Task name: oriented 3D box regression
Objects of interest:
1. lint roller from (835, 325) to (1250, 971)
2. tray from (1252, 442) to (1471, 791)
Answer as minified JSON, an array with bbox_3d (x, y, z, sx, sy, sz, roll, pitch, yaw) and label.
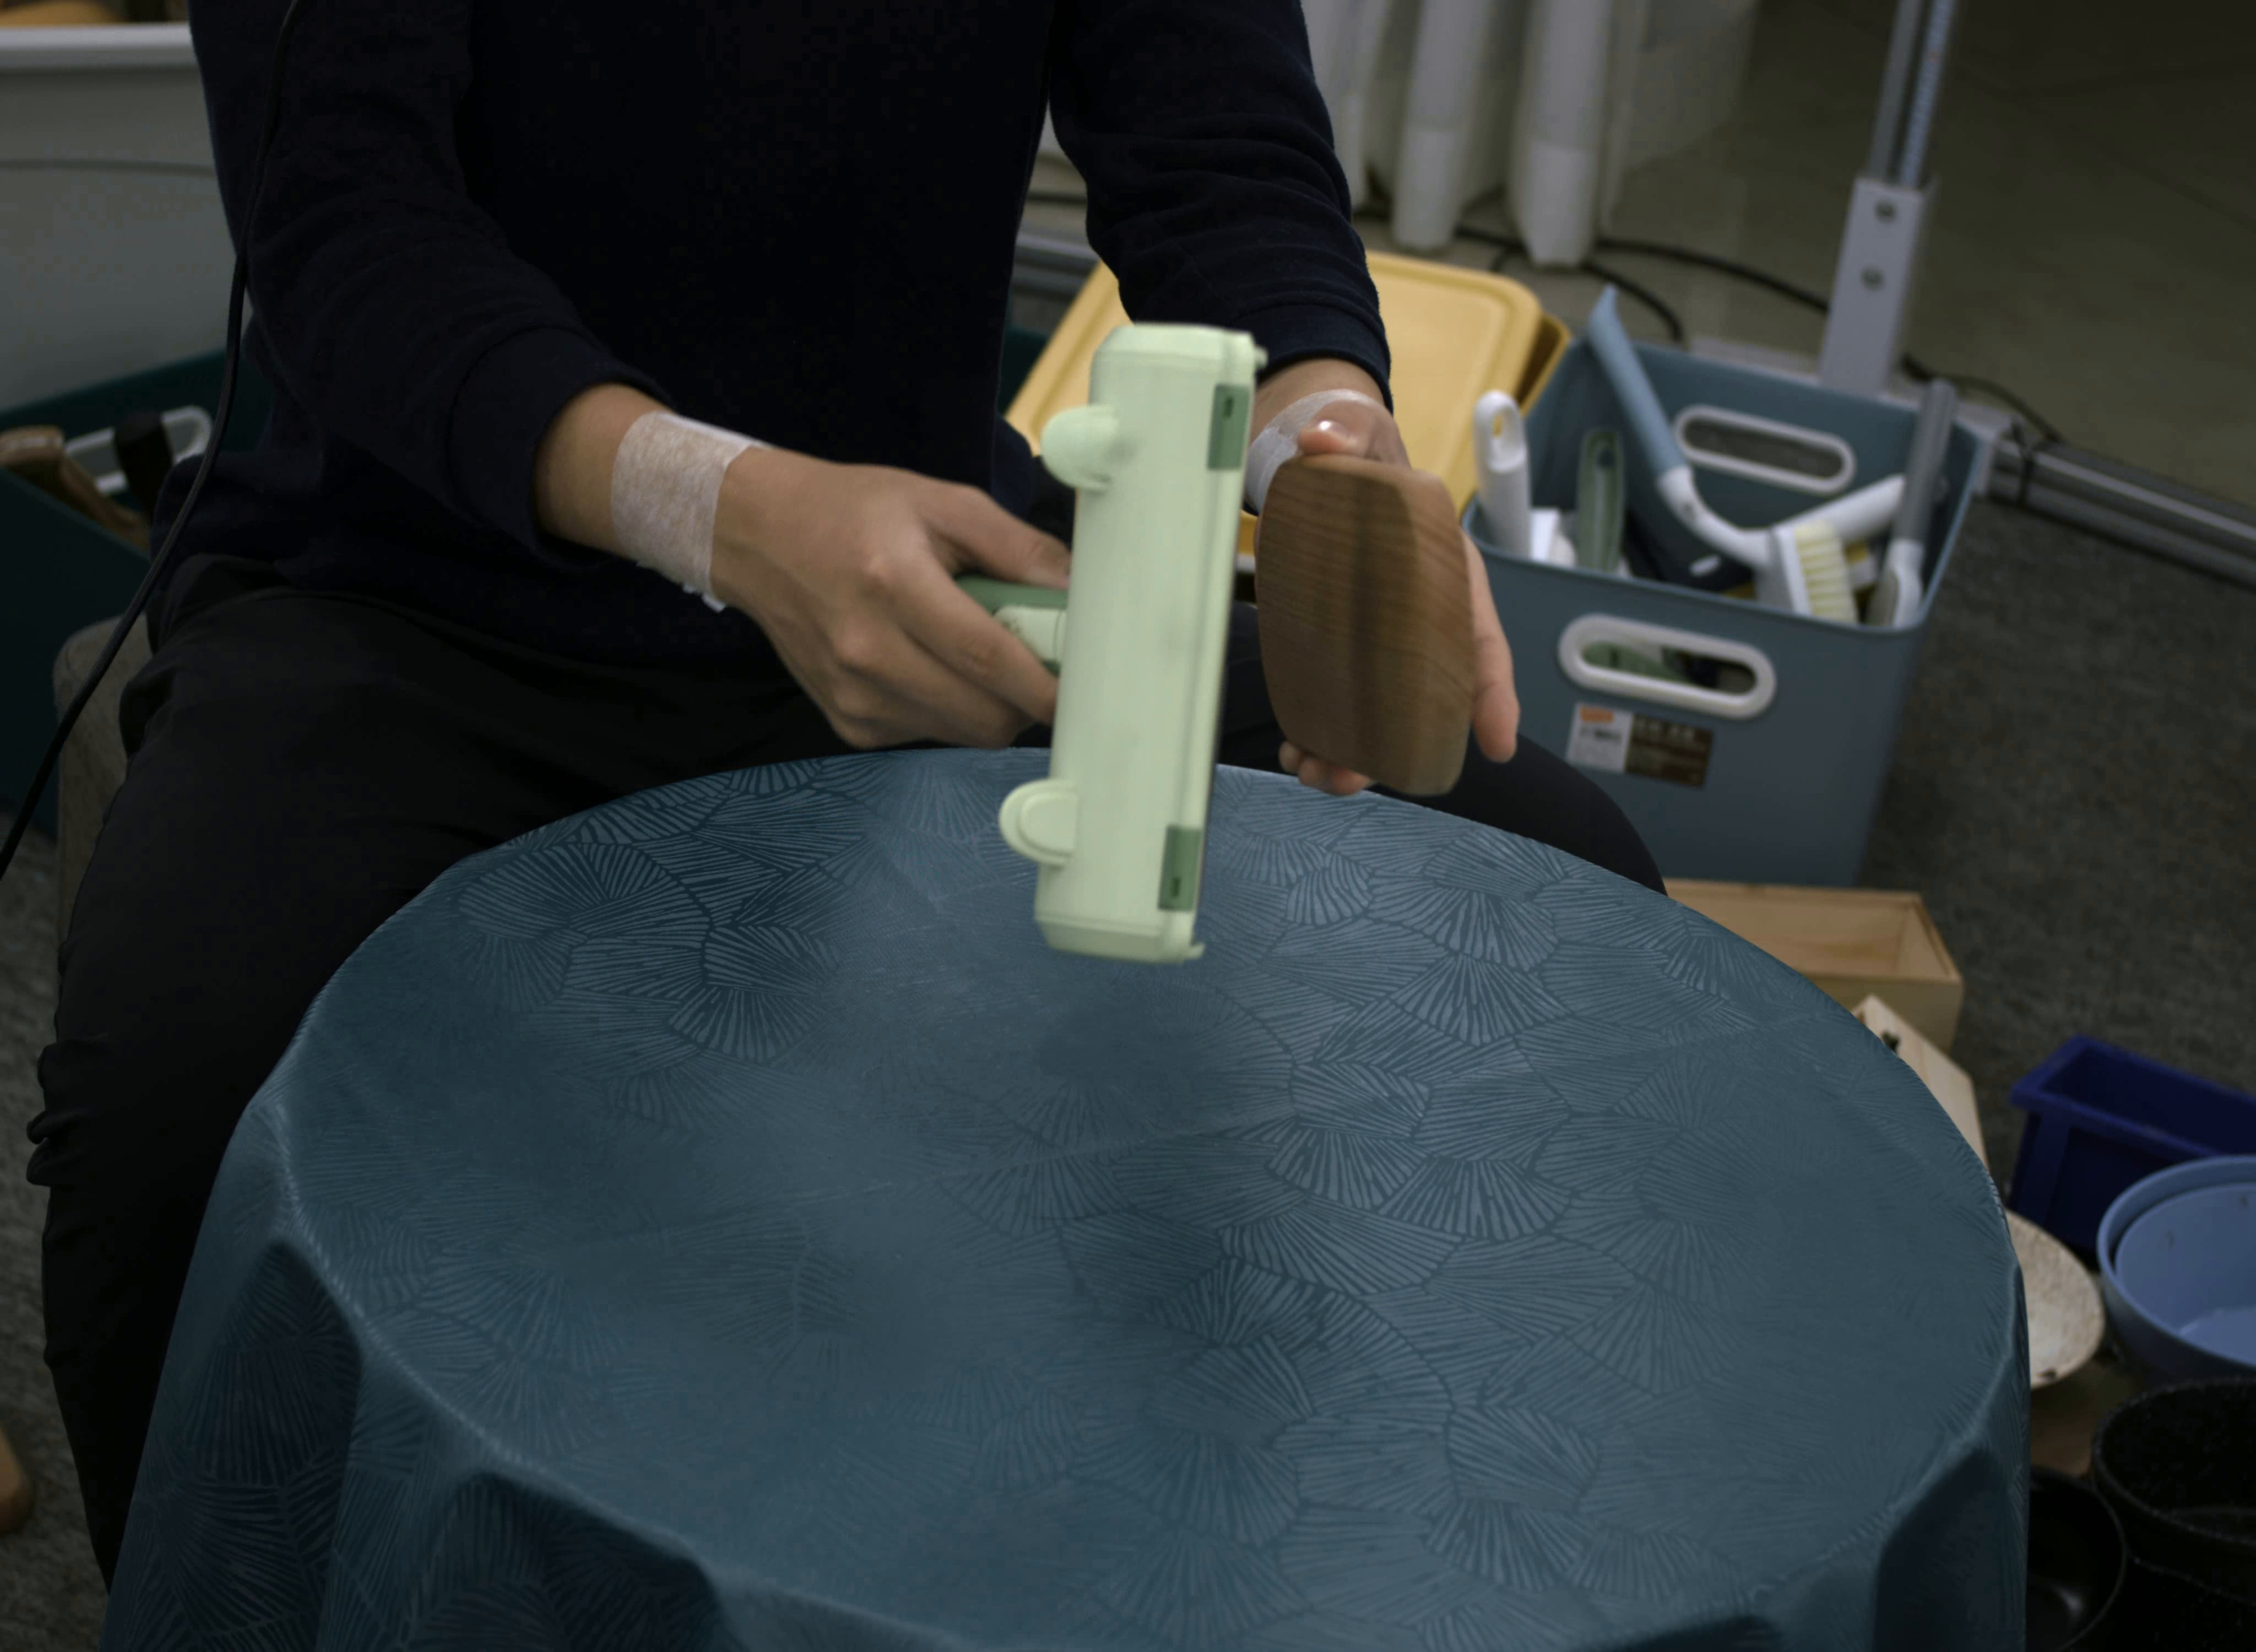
[{"bbox_3d":[-0.043,-0.060,1.678,0.184,0.199,0.081,5,-1,40],"label":"lint roller"},{"bbox_3d":[0.072,-0.069,1.696,0.020,0.102,0.232,-2,7,-13],"label":"tray"}]
